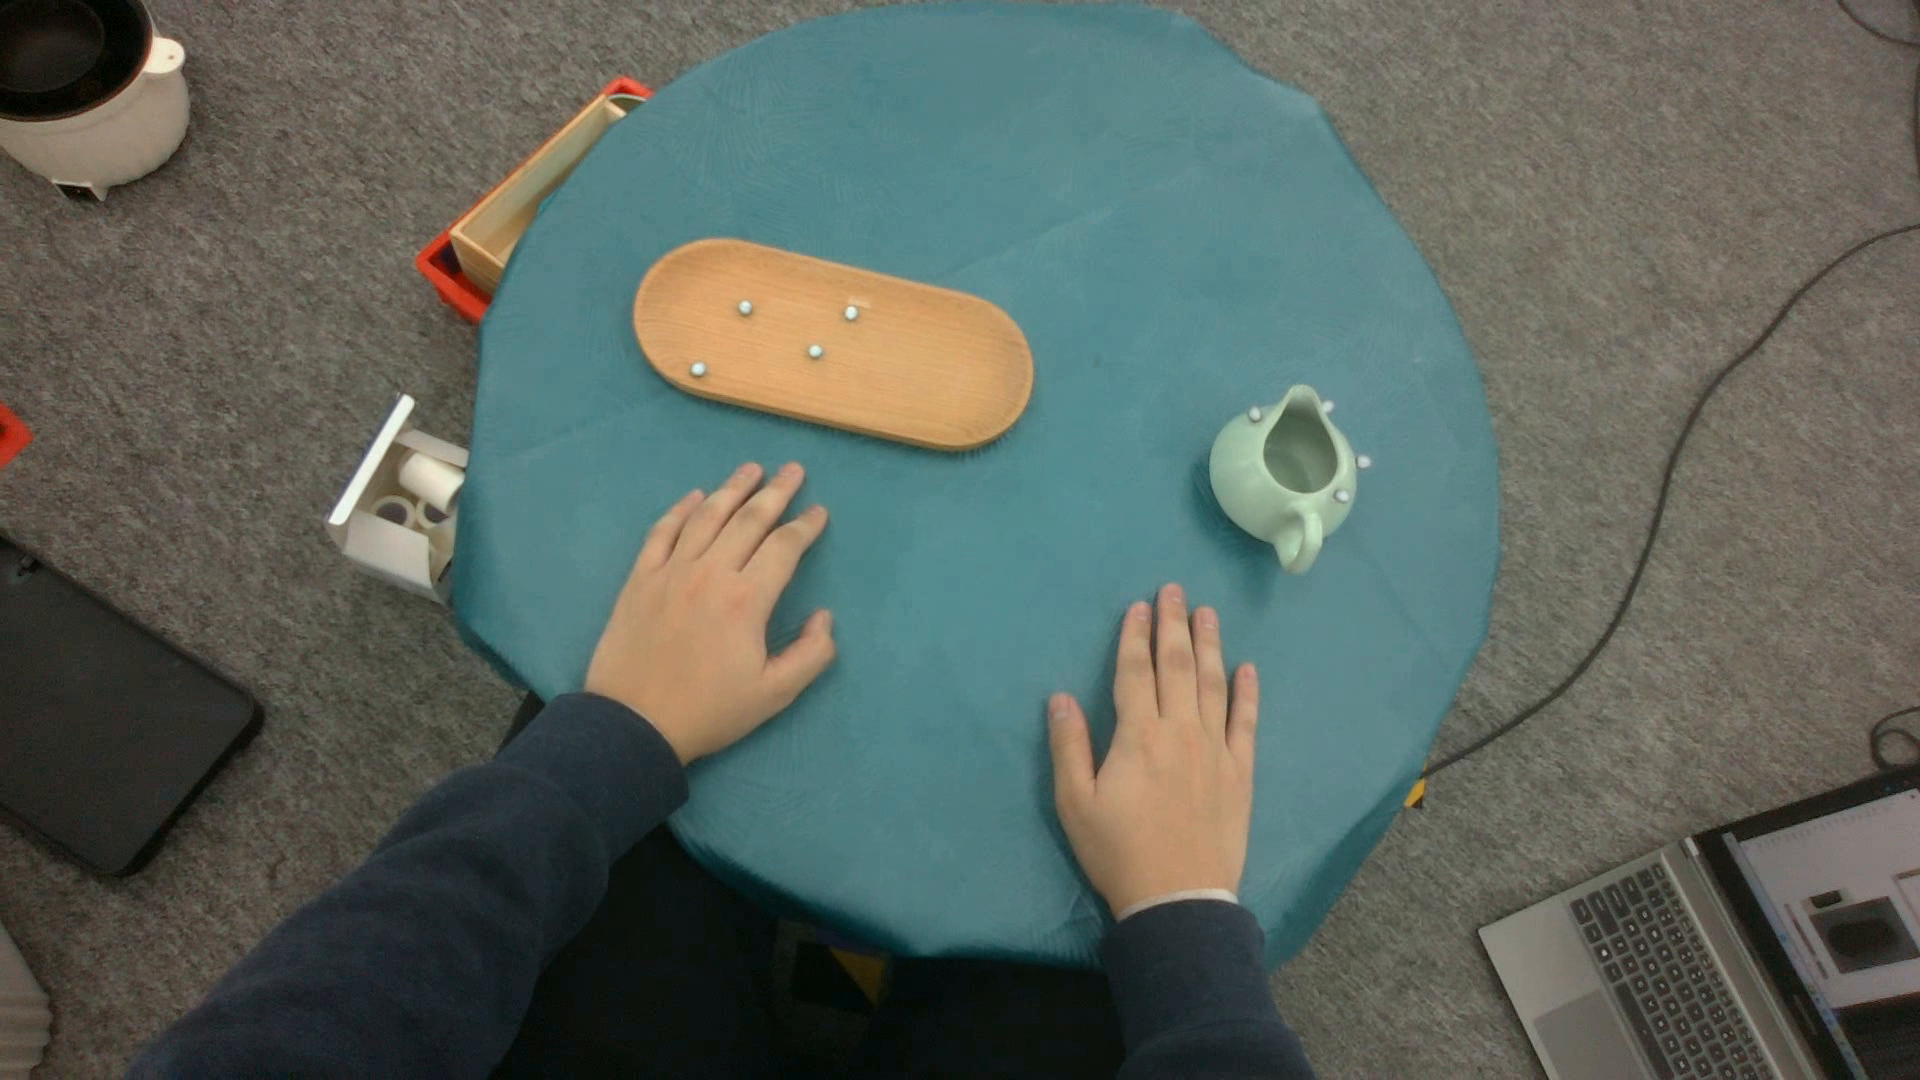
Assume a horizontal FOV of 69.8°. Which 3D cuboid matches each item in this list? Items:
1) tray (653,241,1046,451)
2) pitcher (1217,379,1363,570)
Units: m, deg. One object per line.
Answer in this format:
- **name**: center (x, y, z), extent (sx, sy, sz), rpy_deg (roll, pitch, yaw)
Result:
- **tray**: center (-0.064, -0.113, 0.807), extent (0.231, 0.020, 0.102), rpy_deg (13, 70, -5)
- **pitcher**: center (0.193, -0.033, 0.790), extent (0.086, 0.060, 0.108), rpy_deg (2, 72, -6)
